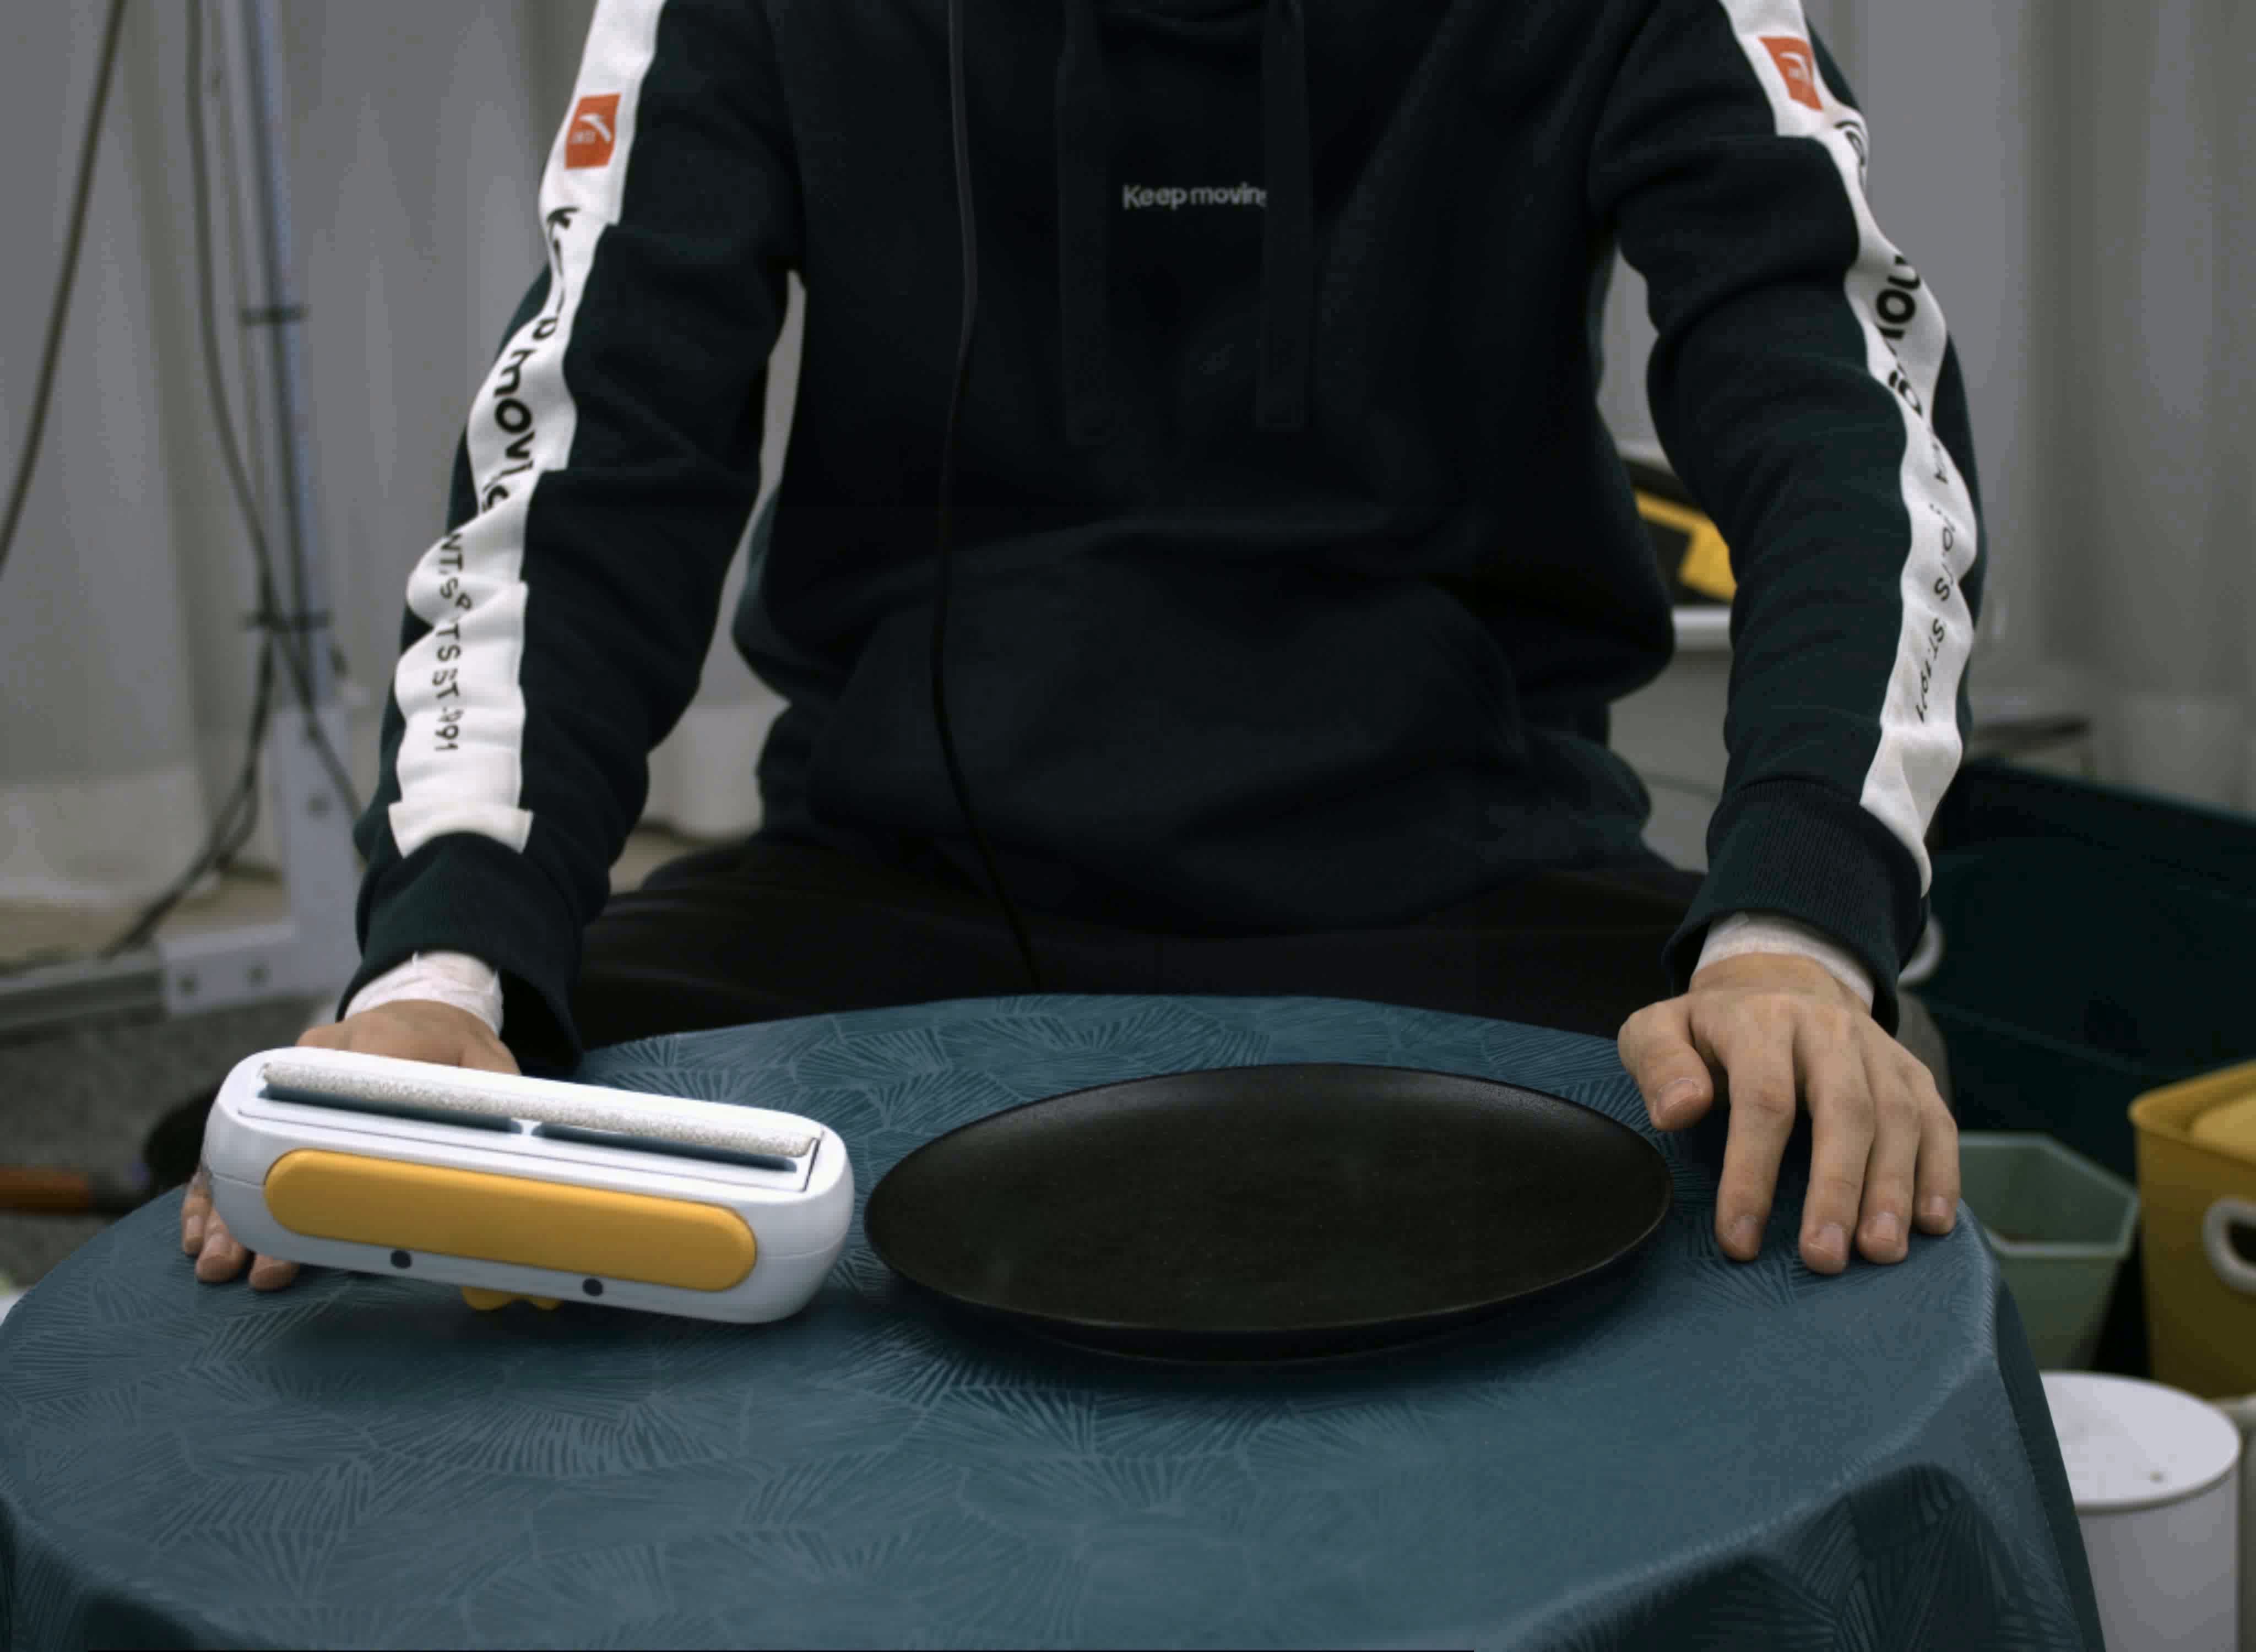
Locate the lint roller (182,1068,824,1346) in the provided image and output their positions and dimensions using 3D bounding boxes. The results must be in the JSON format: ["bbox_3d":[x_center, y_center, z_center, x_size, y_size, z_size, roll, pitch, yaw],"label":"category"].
[{"bbox_3d":[-0.178,0.118,1.680,0.192,0.074,0.192,6,1,9],"label":"lint roller"}]

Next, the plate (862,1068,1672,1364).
[{"bbox_3d":[0.042,0.120,1.643,0.243,0.023,0.246,-3,15,1],"label":"plate"}]
